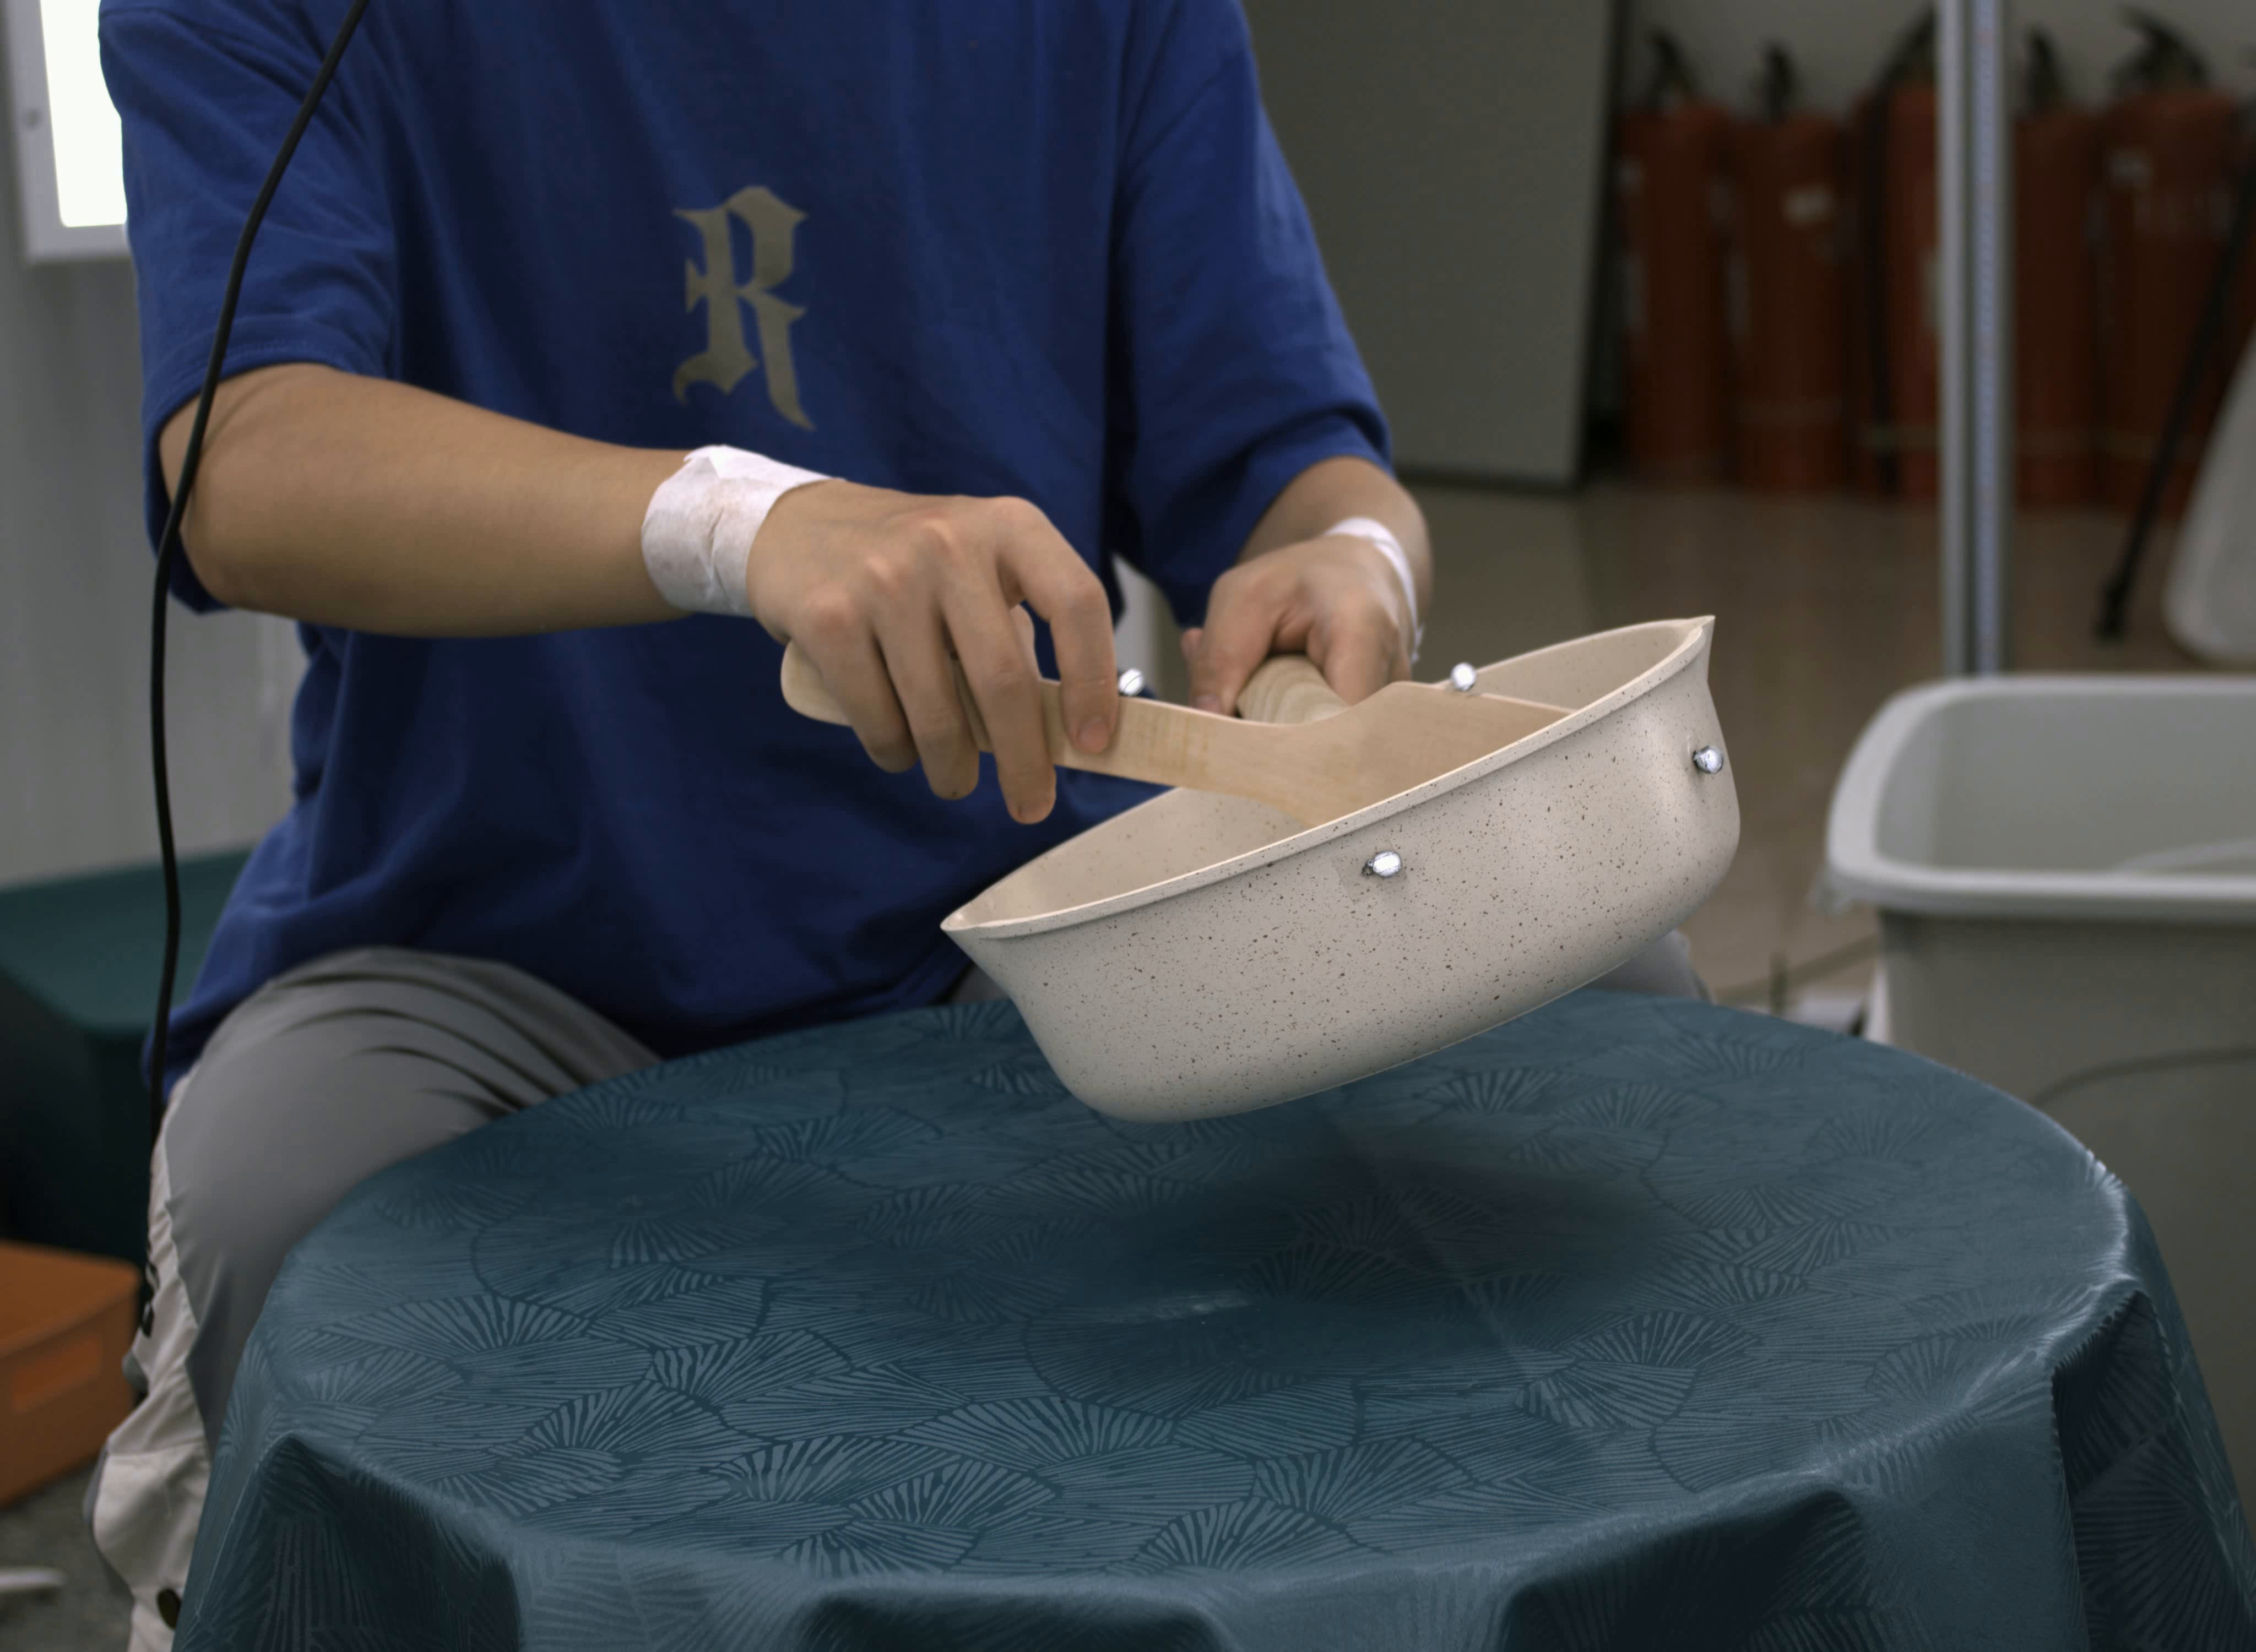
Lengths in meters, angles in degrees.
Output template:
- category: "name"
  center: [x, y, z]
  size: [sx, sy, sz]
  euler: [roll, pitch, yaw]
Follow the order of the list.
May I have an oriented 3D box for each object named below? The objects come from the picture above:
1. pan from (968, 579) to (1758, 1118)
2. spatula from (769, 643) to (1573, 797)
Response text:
- category: "pan"
  center: [0.076, 0.000, 1.780]
  size: [0.261, 0.103, 0.435]
  euler: [-25, 5, -1]
- category: "spatula"
  center: [0.015, -0.031, 1.697]
  size: [0.293, 0.073, 0.010]
  euler: [7, 13, 25]
